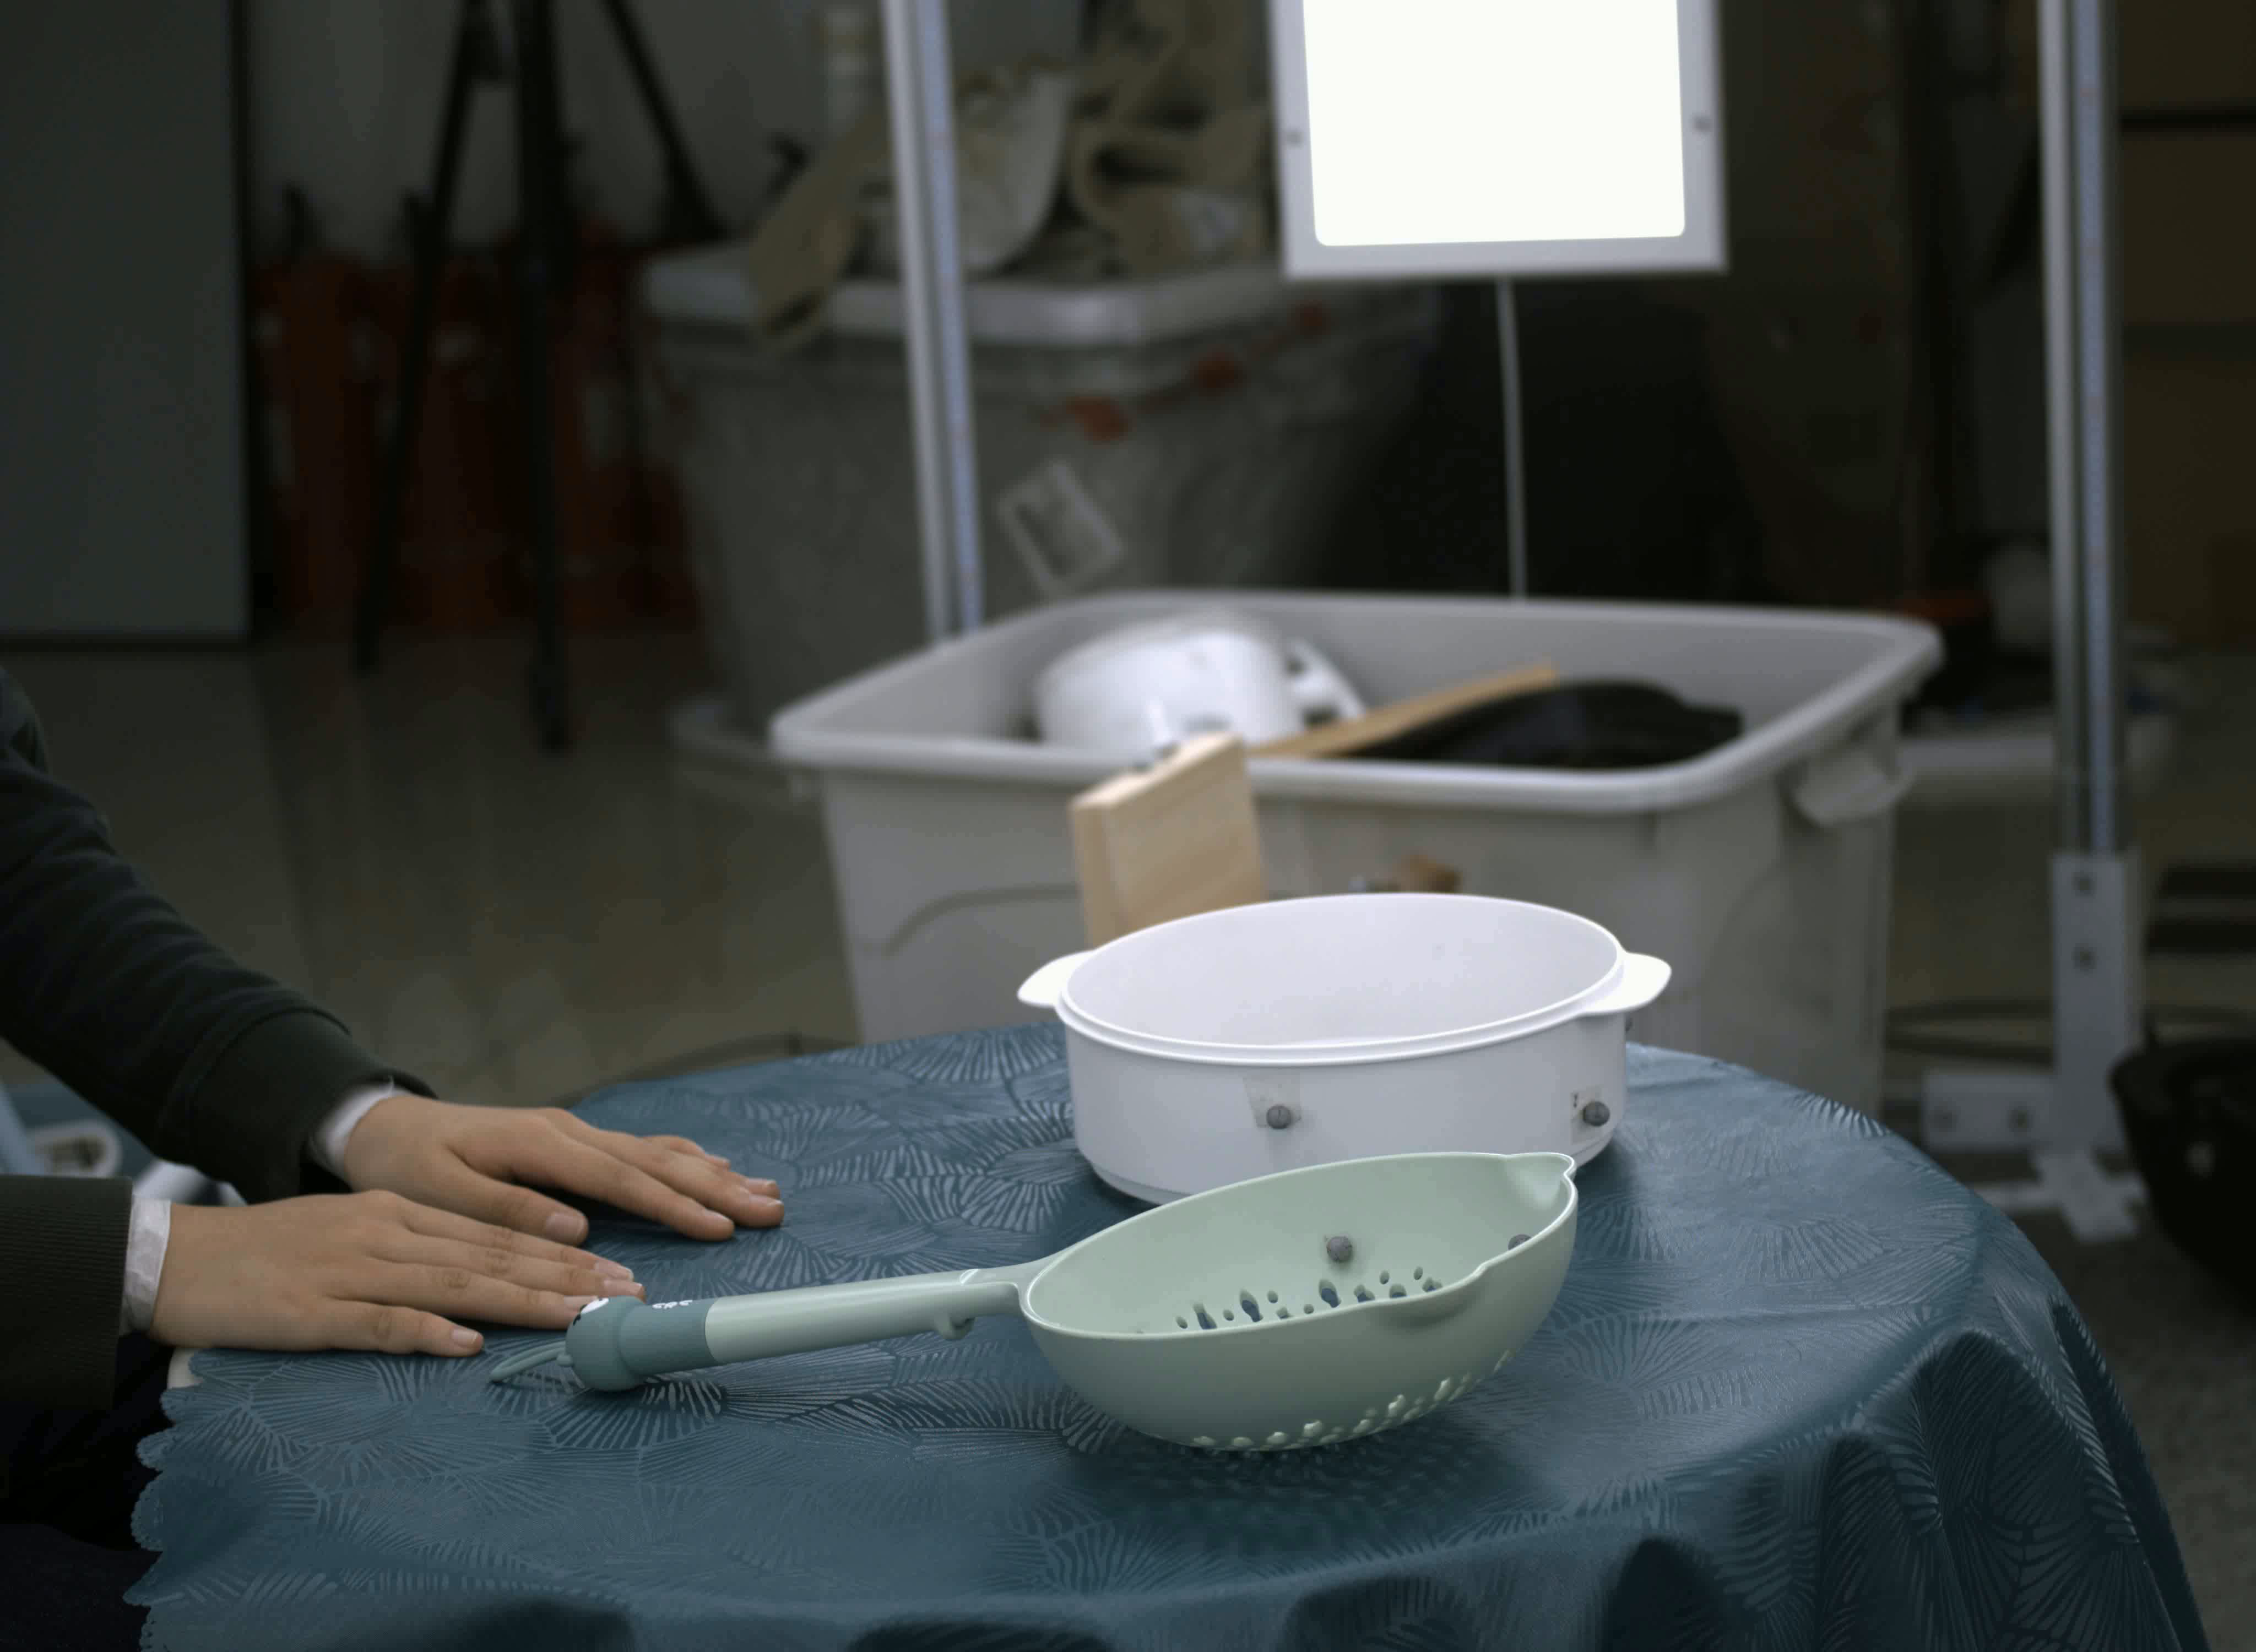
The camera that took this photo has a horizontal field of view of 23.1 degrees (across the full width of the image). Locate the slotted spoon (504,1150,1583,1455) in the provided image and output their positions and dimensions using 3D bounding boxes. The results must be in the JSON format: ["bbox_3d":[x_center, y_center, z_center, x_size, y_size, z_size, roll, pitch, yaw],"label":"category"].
[{"bbox_3d":[-0.034,0.147,1.687,0.364,0.075,0.166,1,14,23],"label":"slotted spoon"}]

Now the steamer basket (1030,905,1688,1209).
[{"bbox_3d":[0.081,0.083,1.913,0.233,0.069,0.198,-1,13,18],"label":"steamer basket"}]
